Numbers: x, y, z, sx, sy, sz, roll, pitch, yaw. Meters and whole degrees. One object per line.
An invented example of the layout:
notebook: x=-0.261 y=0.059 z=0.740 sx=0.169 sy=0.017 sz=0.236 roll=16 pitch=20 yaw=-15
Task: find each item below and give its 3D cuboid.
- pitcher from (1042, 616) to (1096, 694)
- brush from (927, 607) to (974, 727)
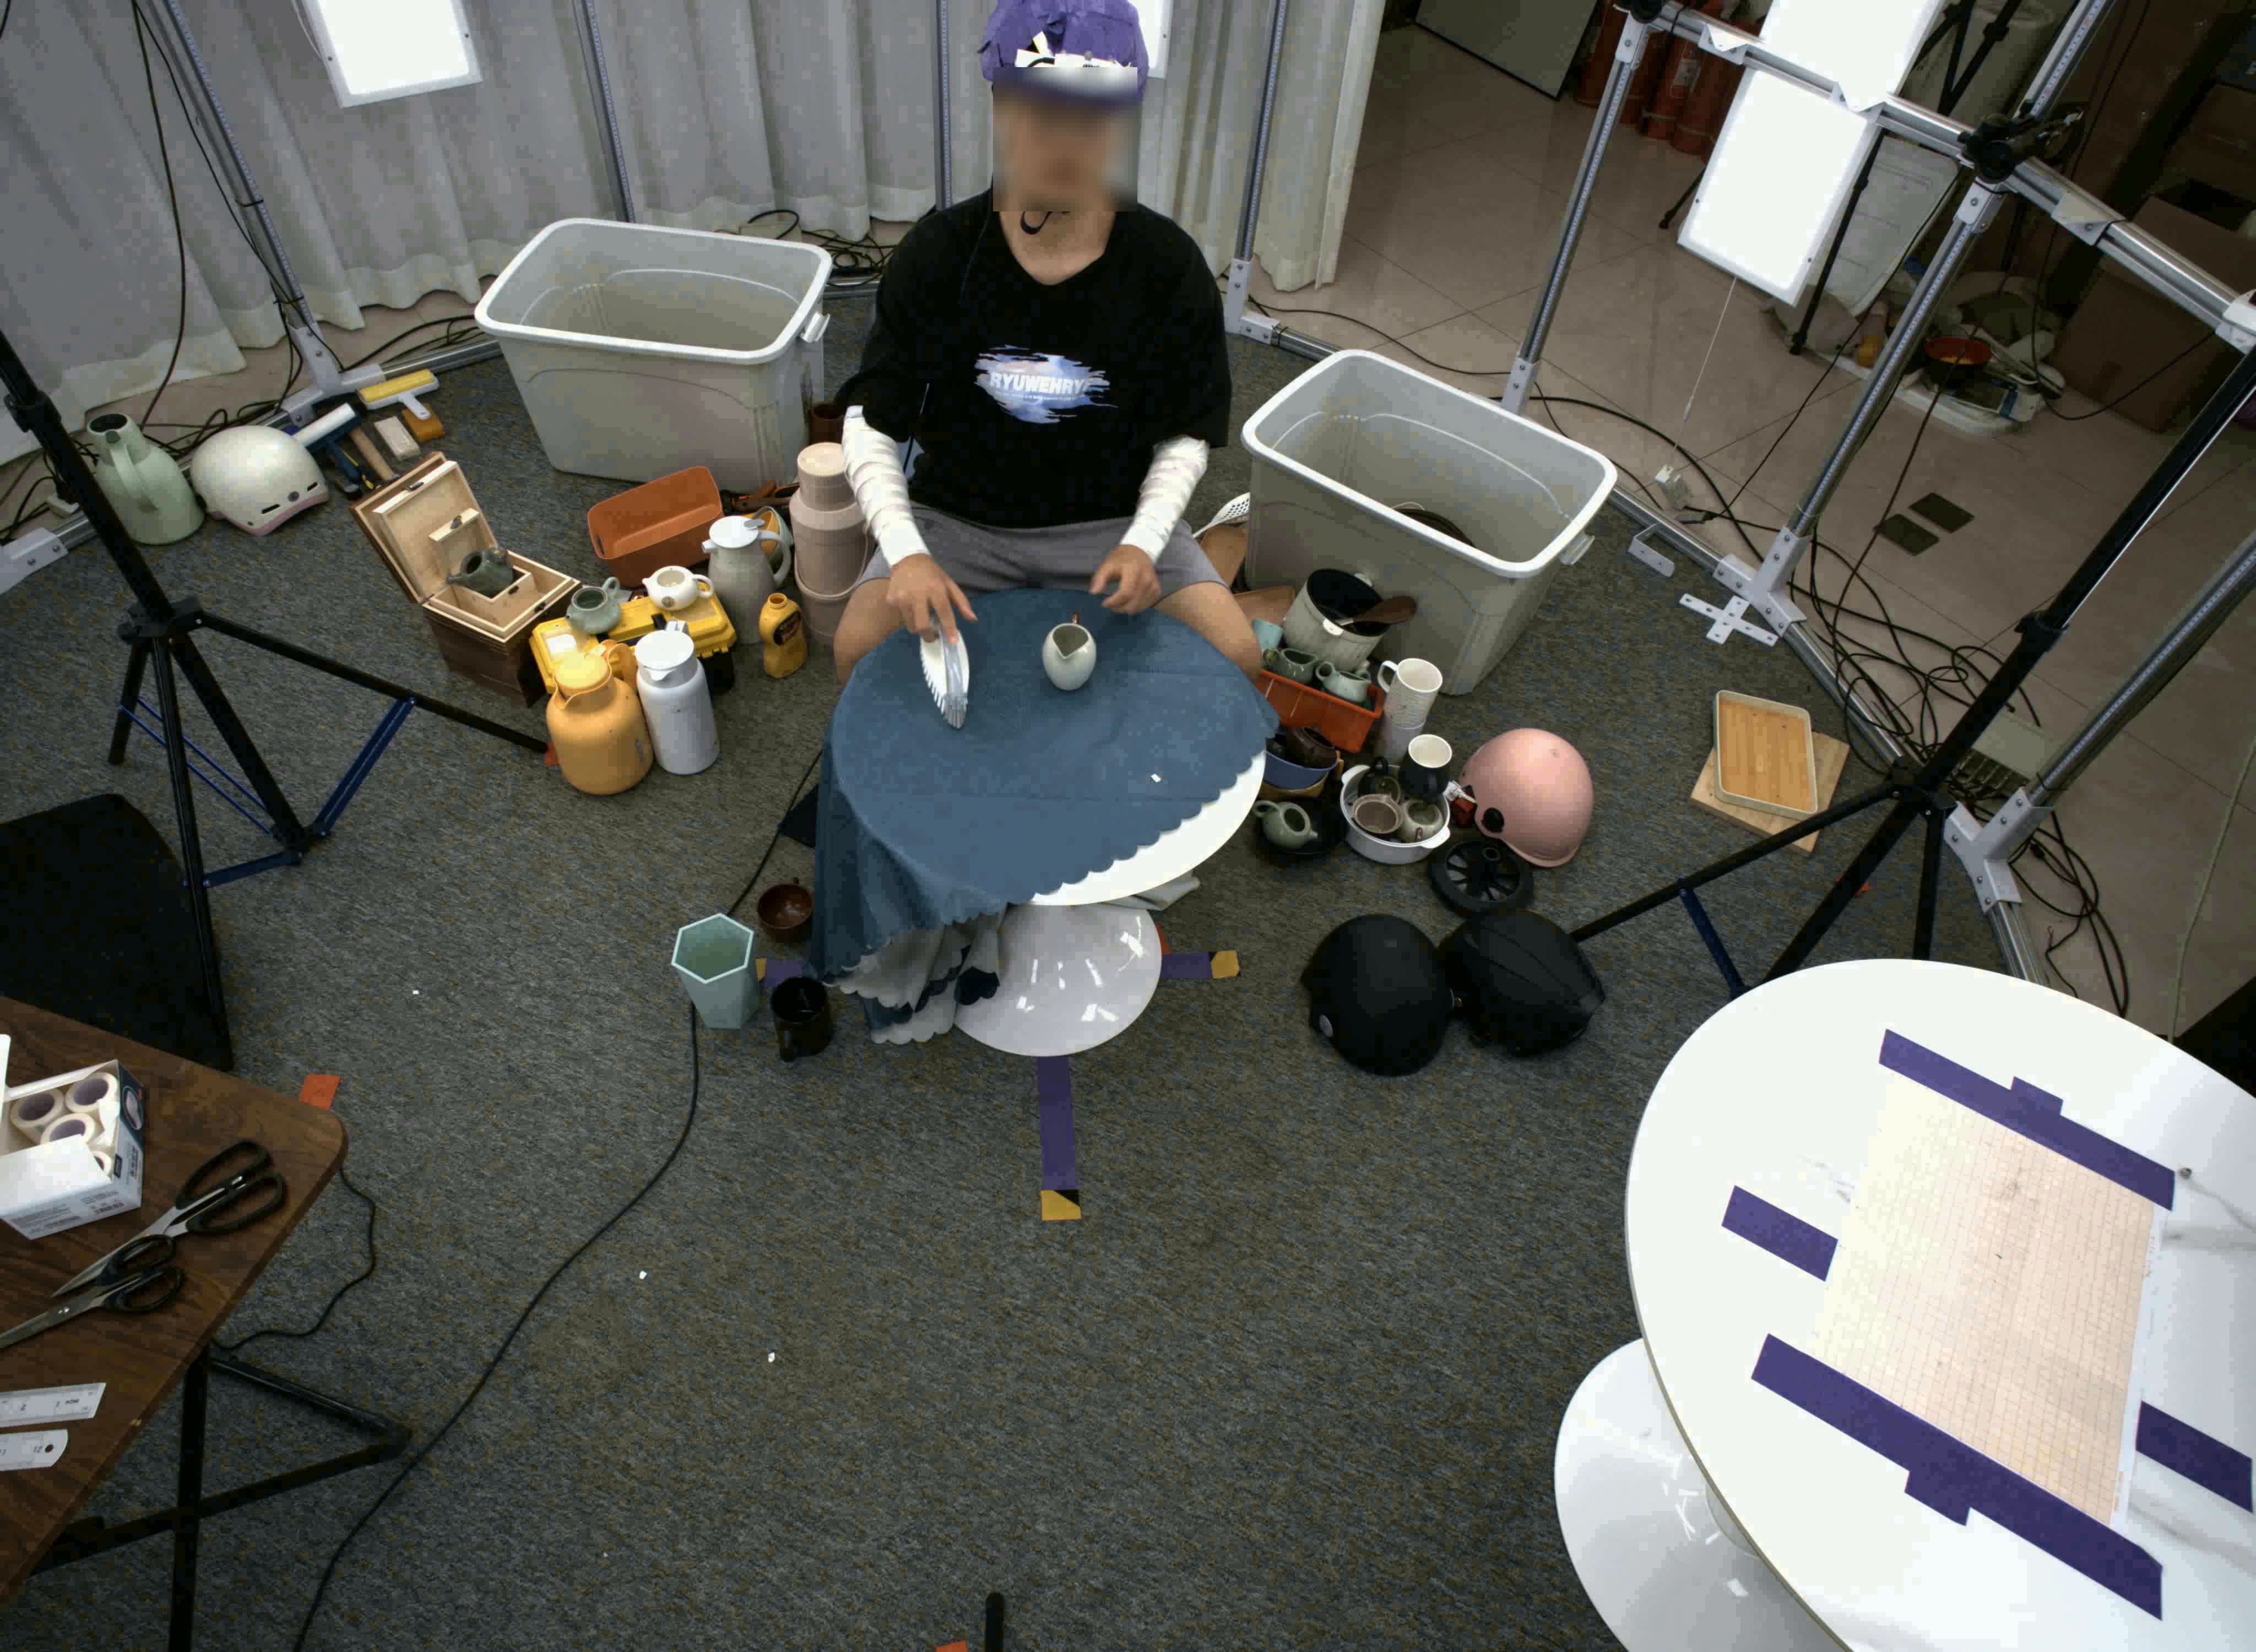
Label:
pitcher: x=-0.082 y=-0.238 z=1.818 sx=0.076 sy=0.086 sz=0.122 roll=13 pitch=51 yaw=2
brush: x=-0.245 y=-0.231 z=1.795 sx=0.061 sy=0.092 sz=0.180 roll=-7 pitch=55 yaw=-8
